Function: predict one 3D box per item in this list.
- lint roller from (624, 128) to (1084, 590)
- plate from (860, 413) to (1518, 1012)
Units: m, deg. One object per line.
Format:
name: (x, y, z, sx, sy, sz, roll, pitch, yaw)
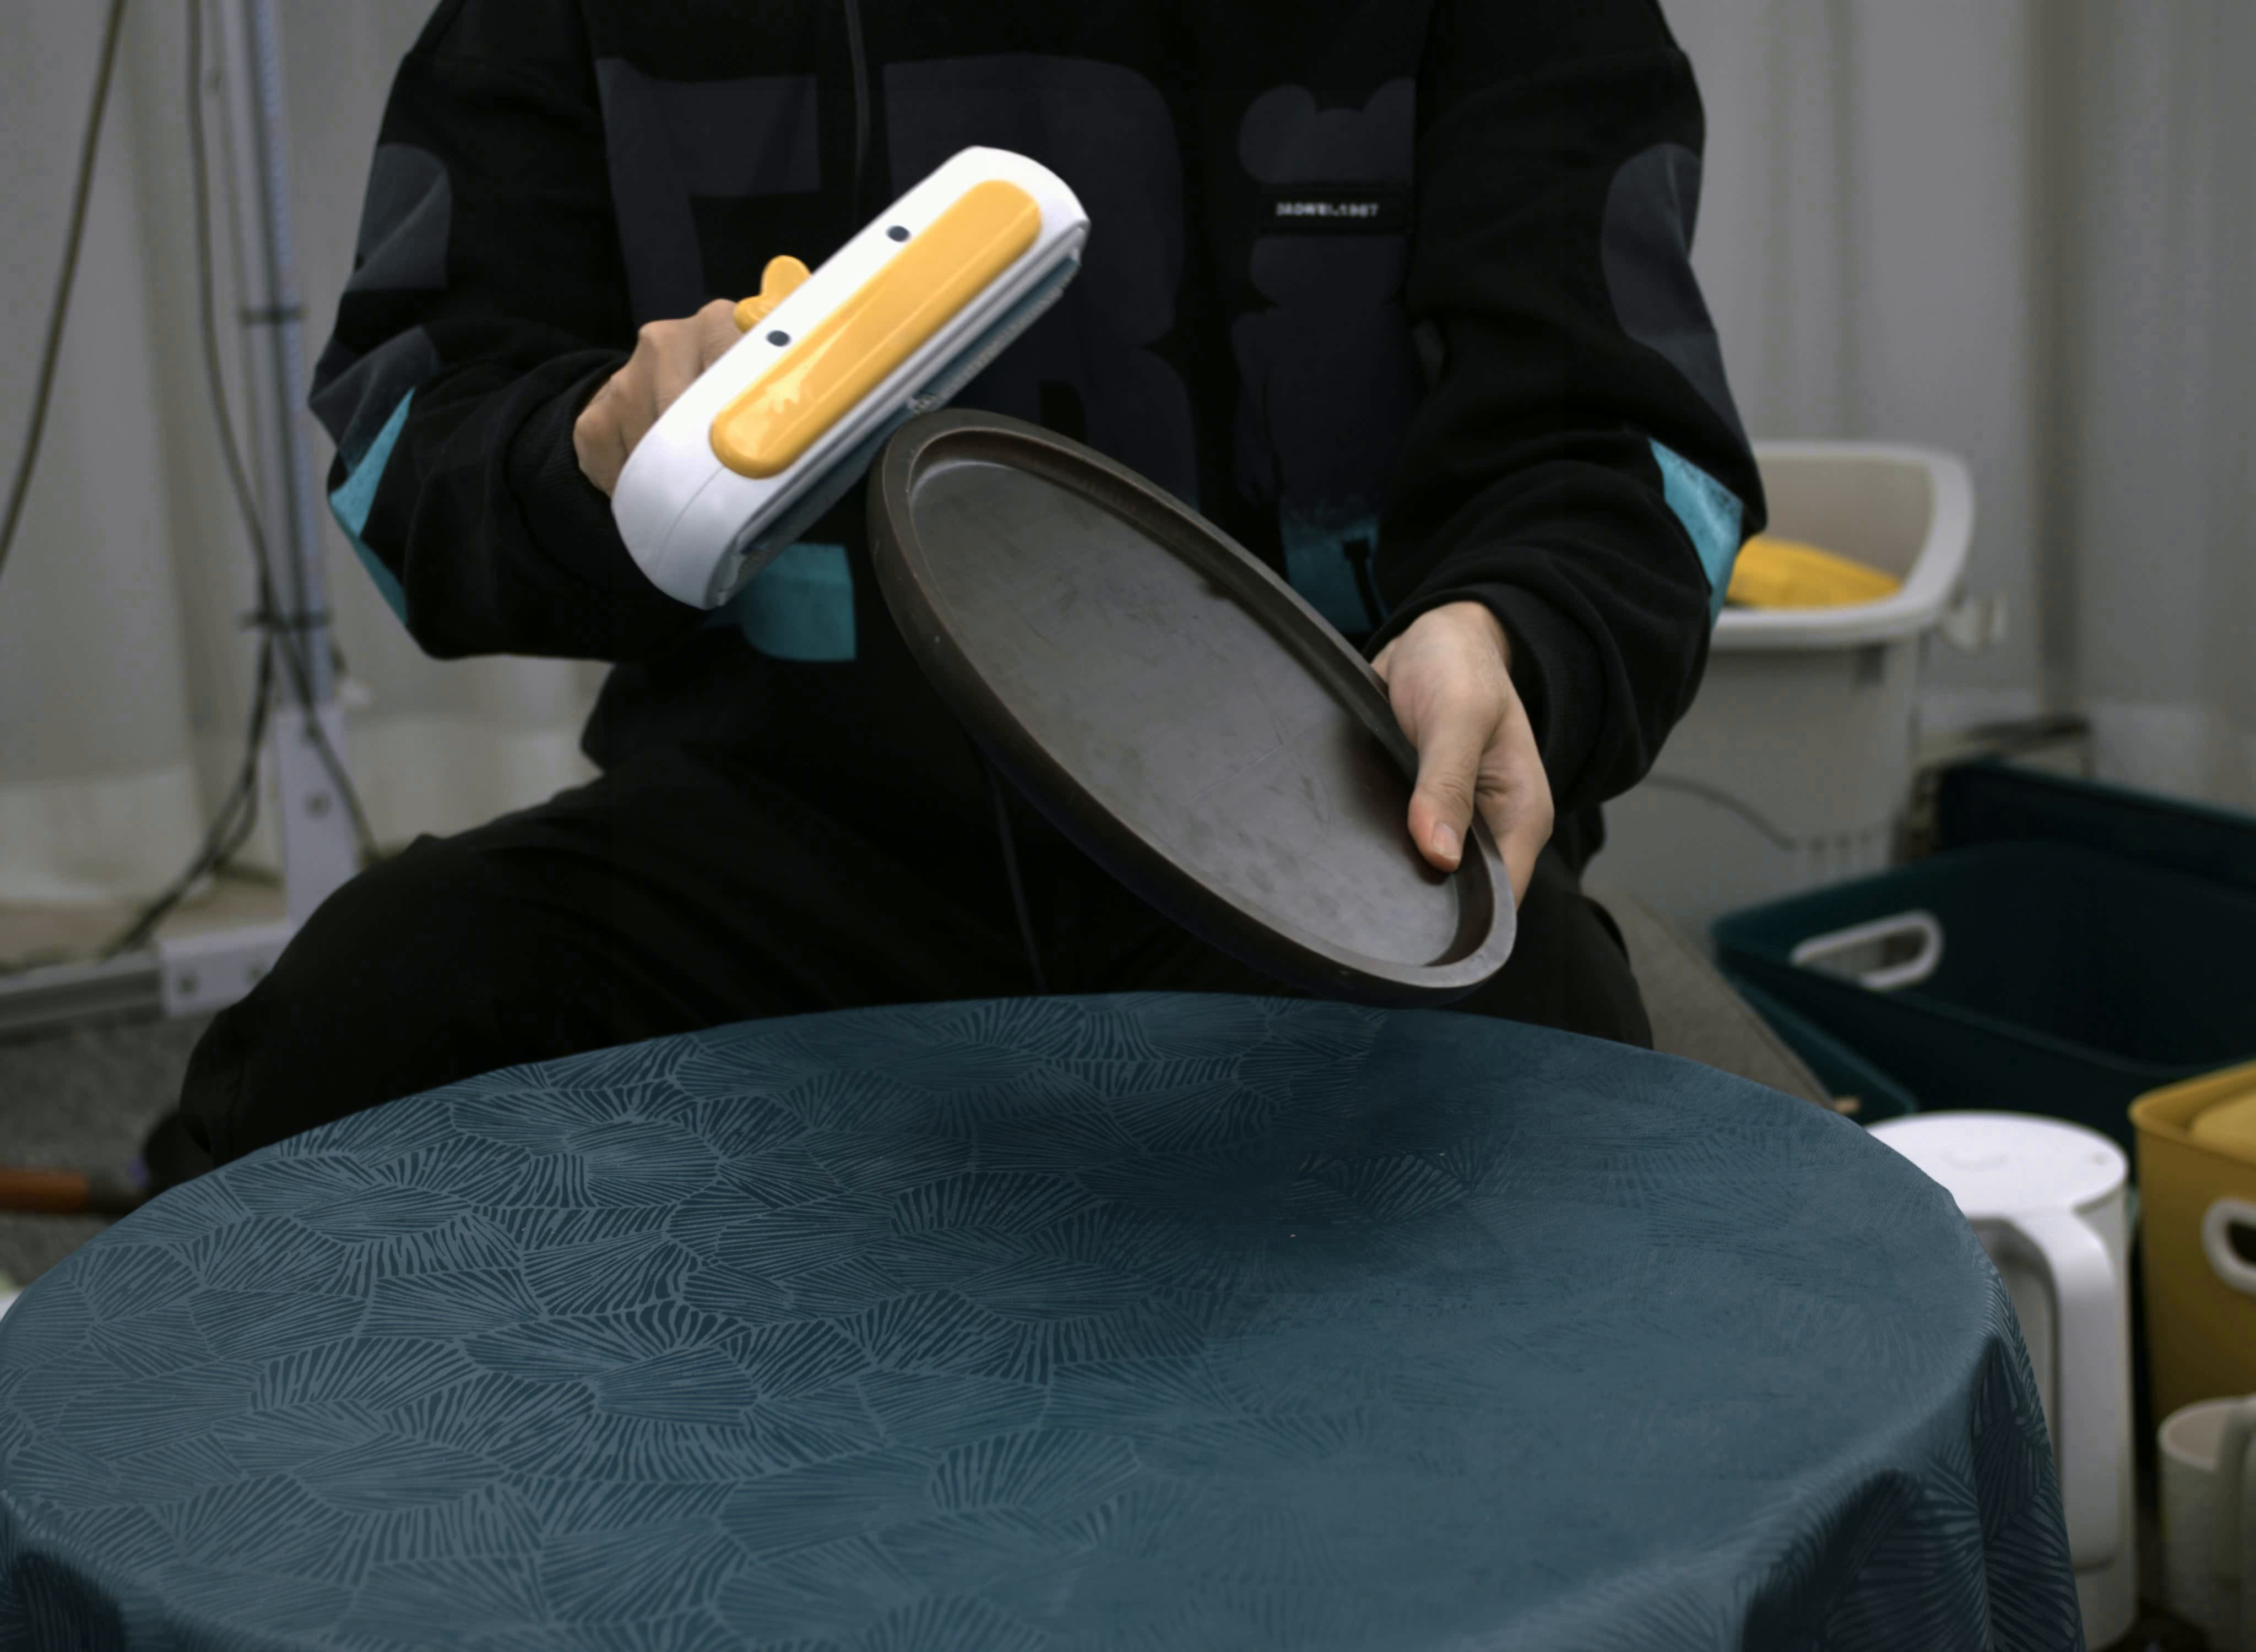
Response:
lint roller: (-0.111, -0.130, 1.788, 0.194, 0.074, 0.191, -50, 1, -32)
plate: (0.019, -0.035, 1.706, 0.253, 0.029, 0.258, 34, 22, -16)
